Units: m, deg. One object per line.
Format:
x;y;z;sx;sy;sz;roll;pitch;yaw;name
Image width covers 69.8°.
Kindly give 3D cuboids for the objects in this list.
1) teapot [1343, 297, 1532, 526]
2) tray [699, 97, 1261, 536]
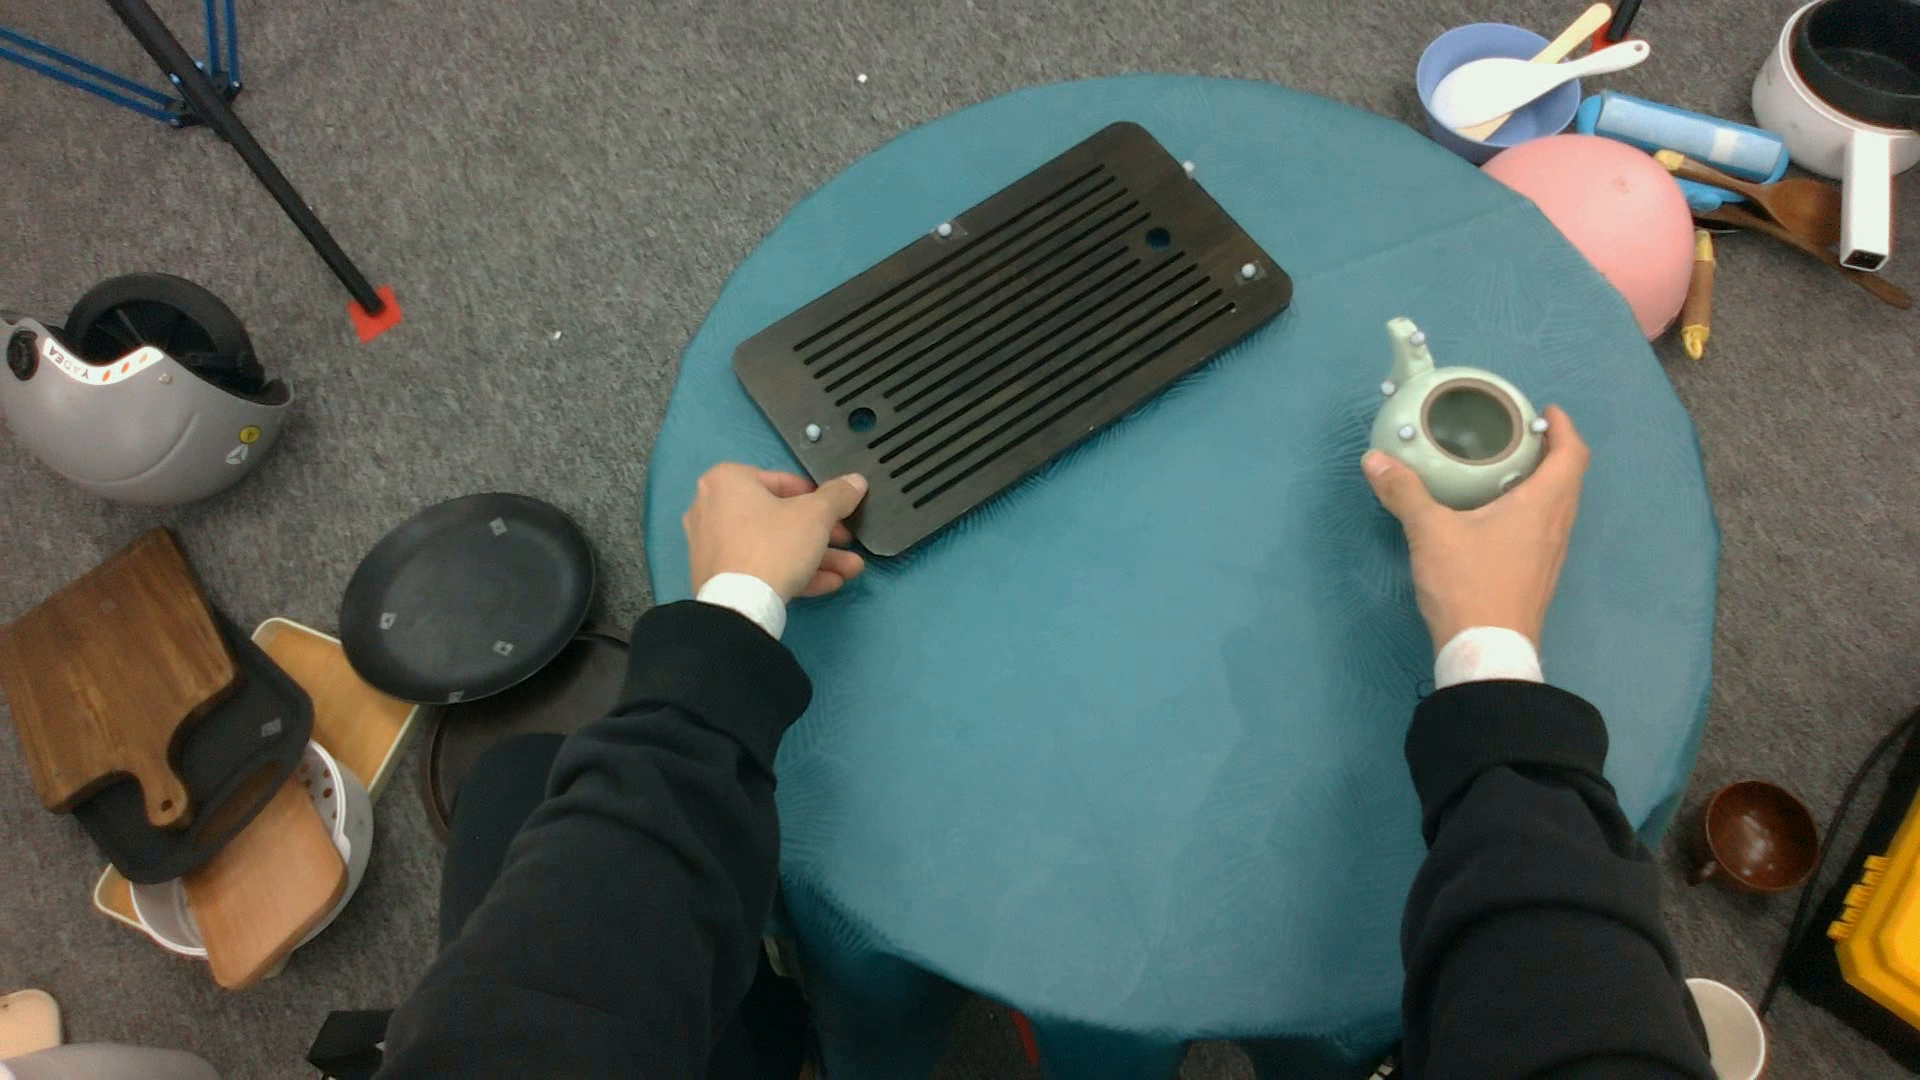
0.255;-0.063;0.751;0.088;0.074;0.144;-25;66;-9;teapot
0.014;-0.140;0.818;0.306;0.018;0.170;-33;69;-13;tray
